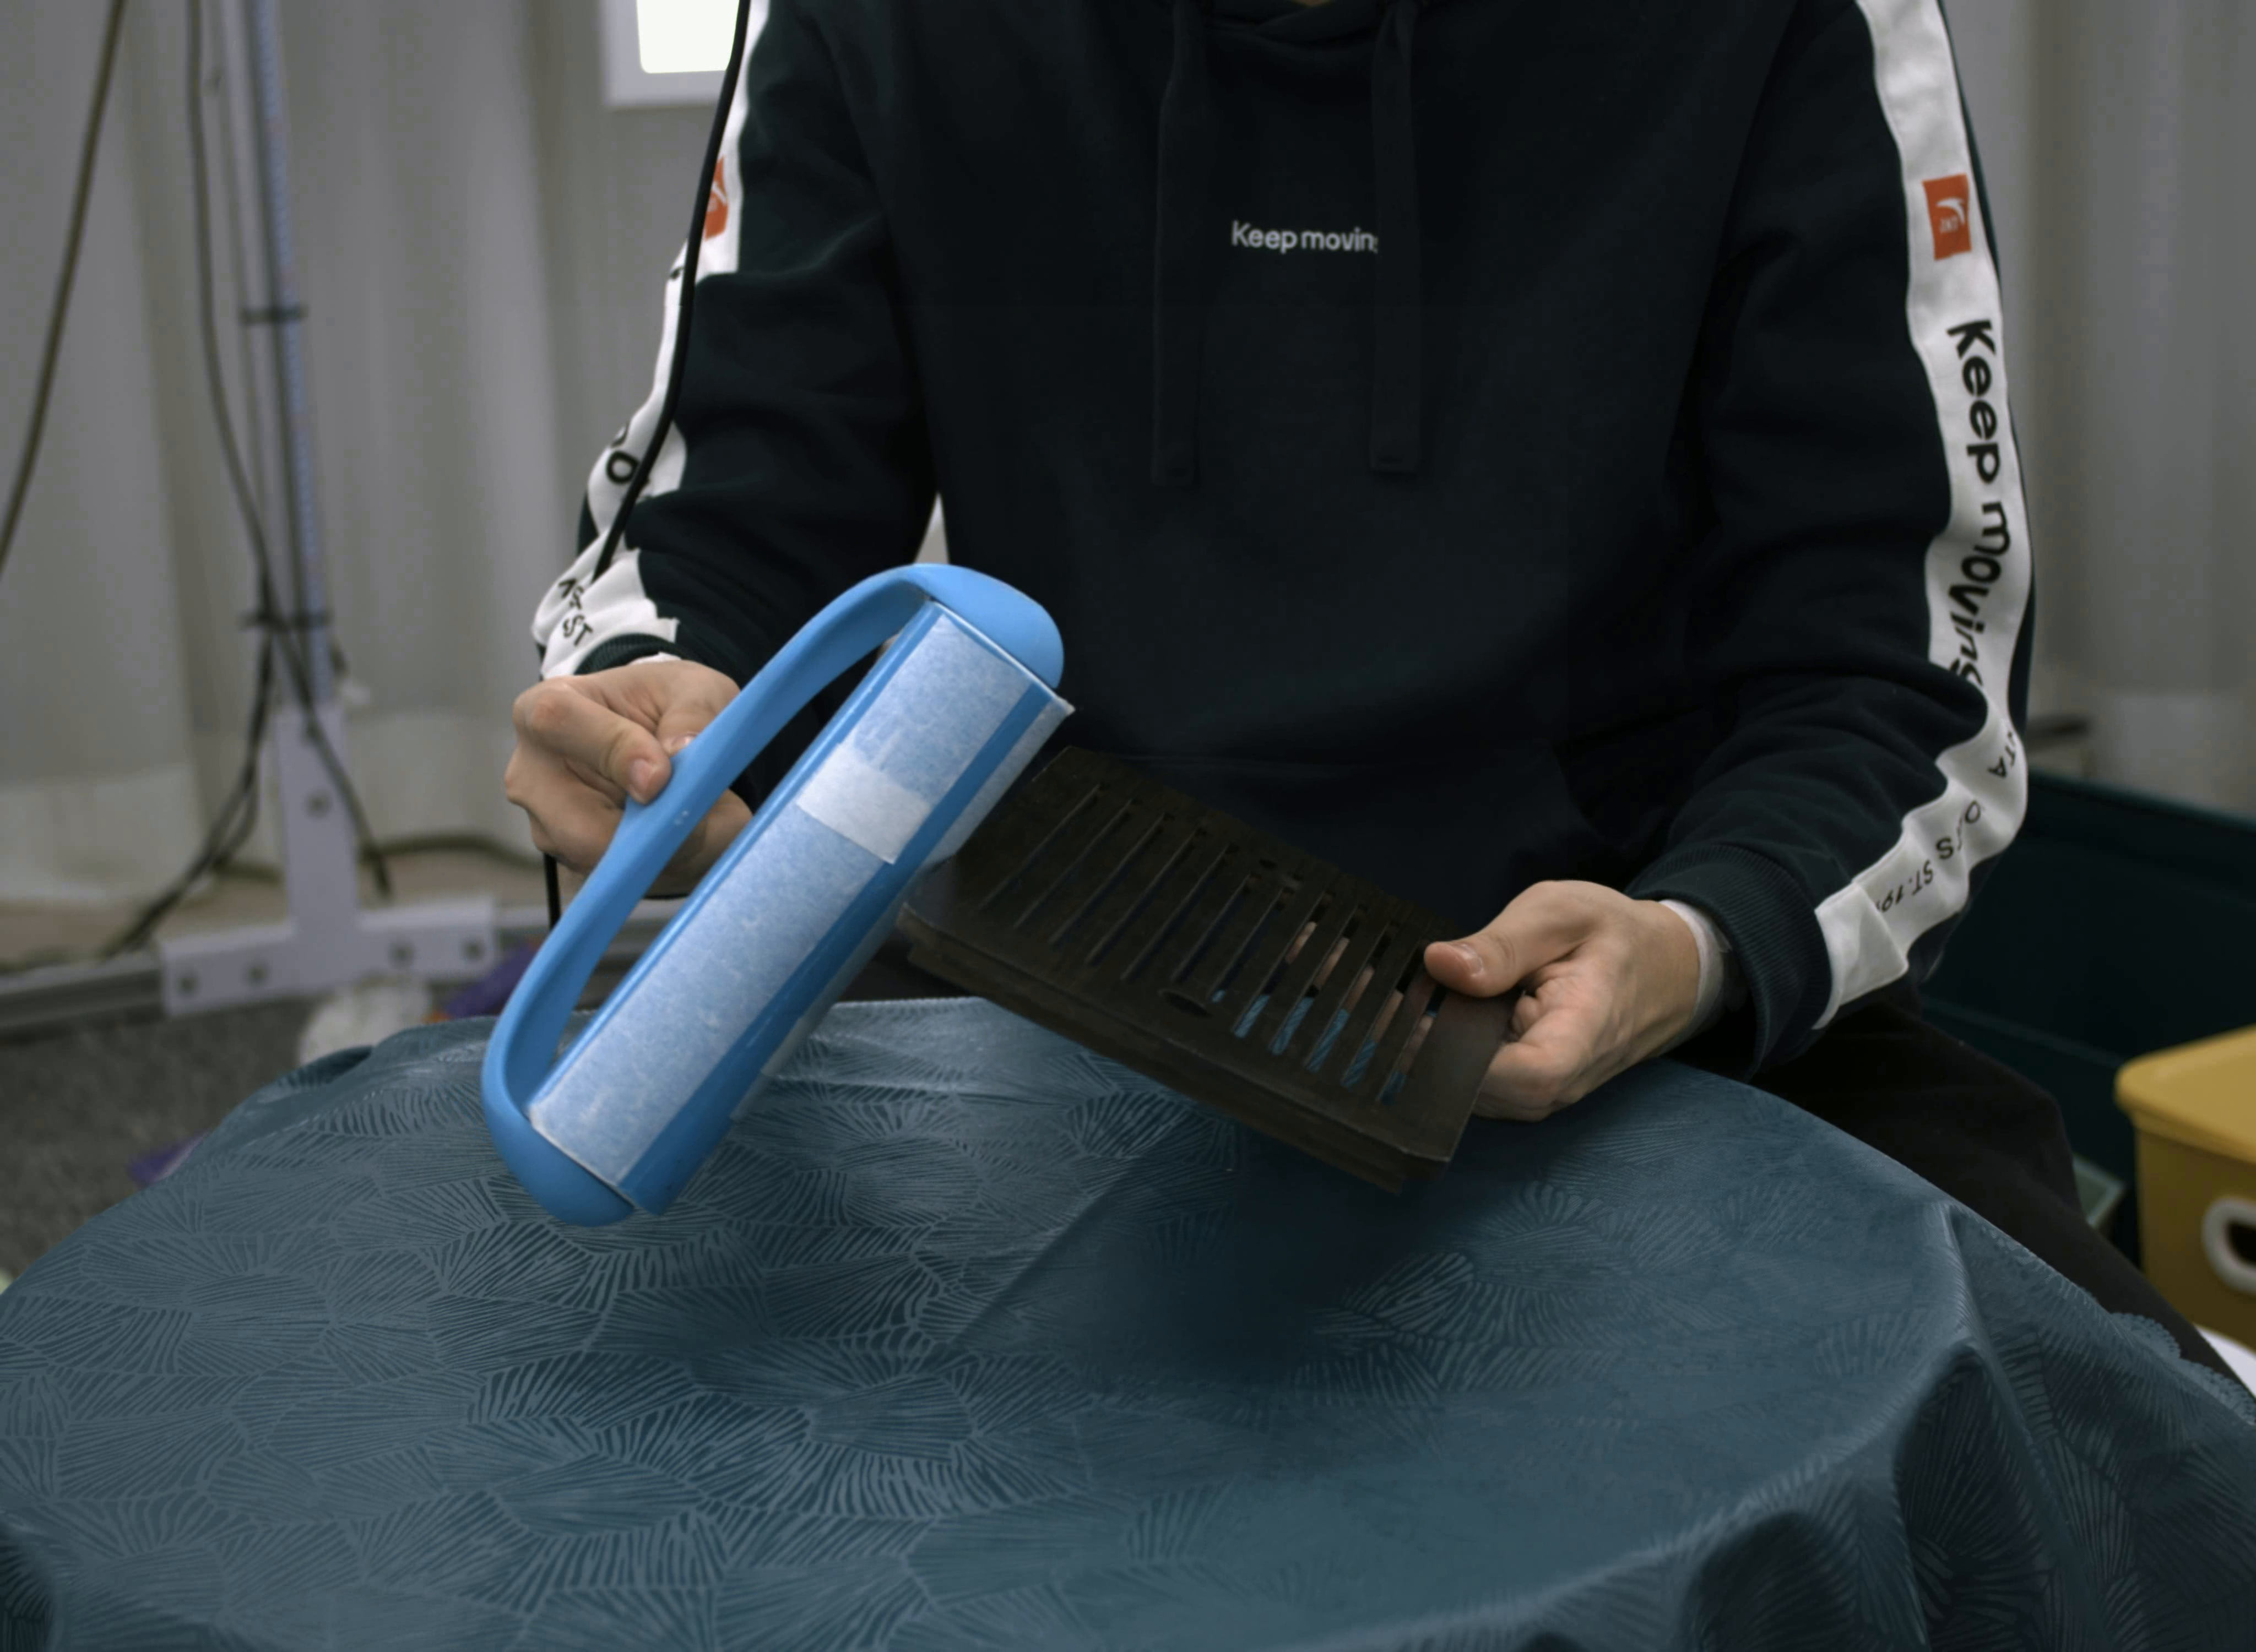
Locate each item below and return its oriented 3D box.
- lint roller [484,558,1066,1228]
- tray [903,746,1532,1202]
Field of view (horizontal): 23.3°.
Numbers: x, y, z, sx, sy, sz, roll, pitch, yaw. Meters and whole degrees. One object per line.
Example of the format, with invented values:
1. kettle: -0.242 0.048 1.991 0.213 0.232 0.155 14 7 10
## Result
1. lint roller: -0.123 0.009 1.652 0.067 0.229 0.181 39 -6 -27
2. tray: 0.033 0.041 1.658 0.170 0.018 0.307 26 12 4
